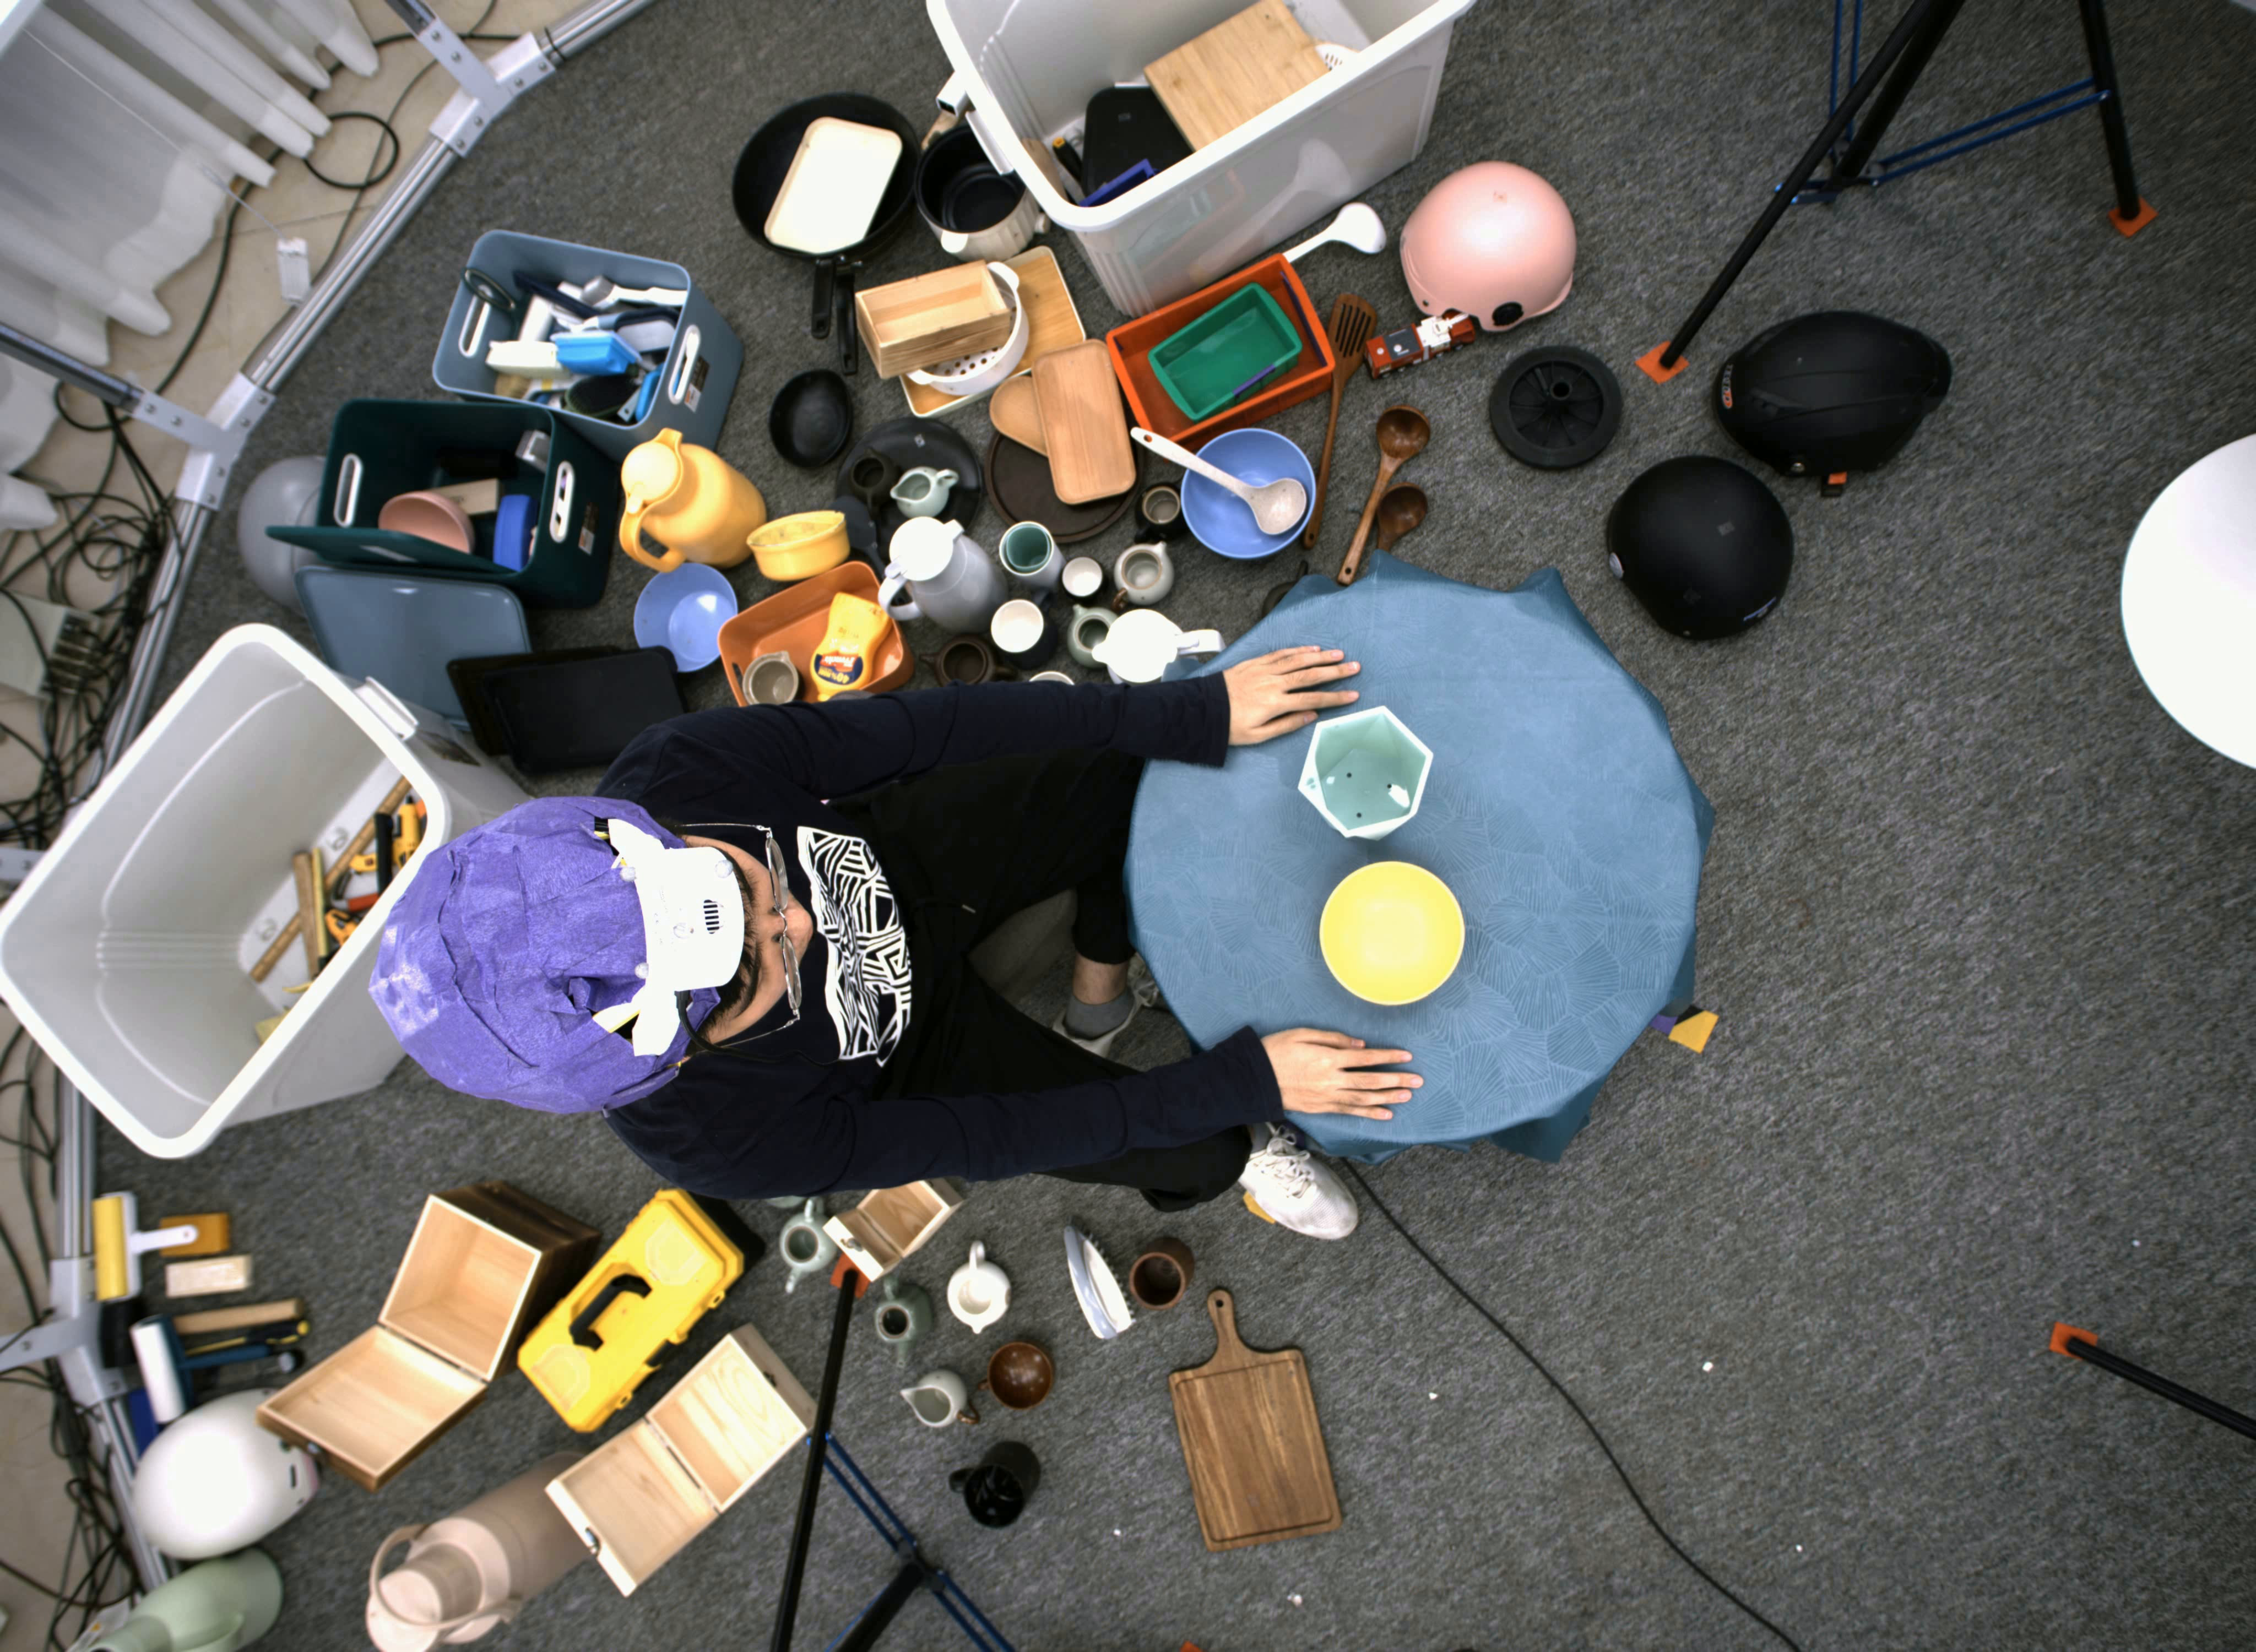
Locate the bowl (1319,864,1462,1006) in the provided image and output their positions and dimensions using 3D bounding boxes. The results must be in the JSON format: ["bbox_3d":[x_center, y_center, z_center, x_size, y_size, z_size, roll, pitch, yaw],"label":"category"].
[{"bbox_3d":[0.271,0.112,1.430,0.146,0.060,0.144,-1,85,13],"label":"bowl"}]

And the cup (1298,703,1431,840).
[{"bbox_3d":[0.240,-0.047,1.387,0.115,0.163,0.130,14,87,12],"label":"cup"}]
